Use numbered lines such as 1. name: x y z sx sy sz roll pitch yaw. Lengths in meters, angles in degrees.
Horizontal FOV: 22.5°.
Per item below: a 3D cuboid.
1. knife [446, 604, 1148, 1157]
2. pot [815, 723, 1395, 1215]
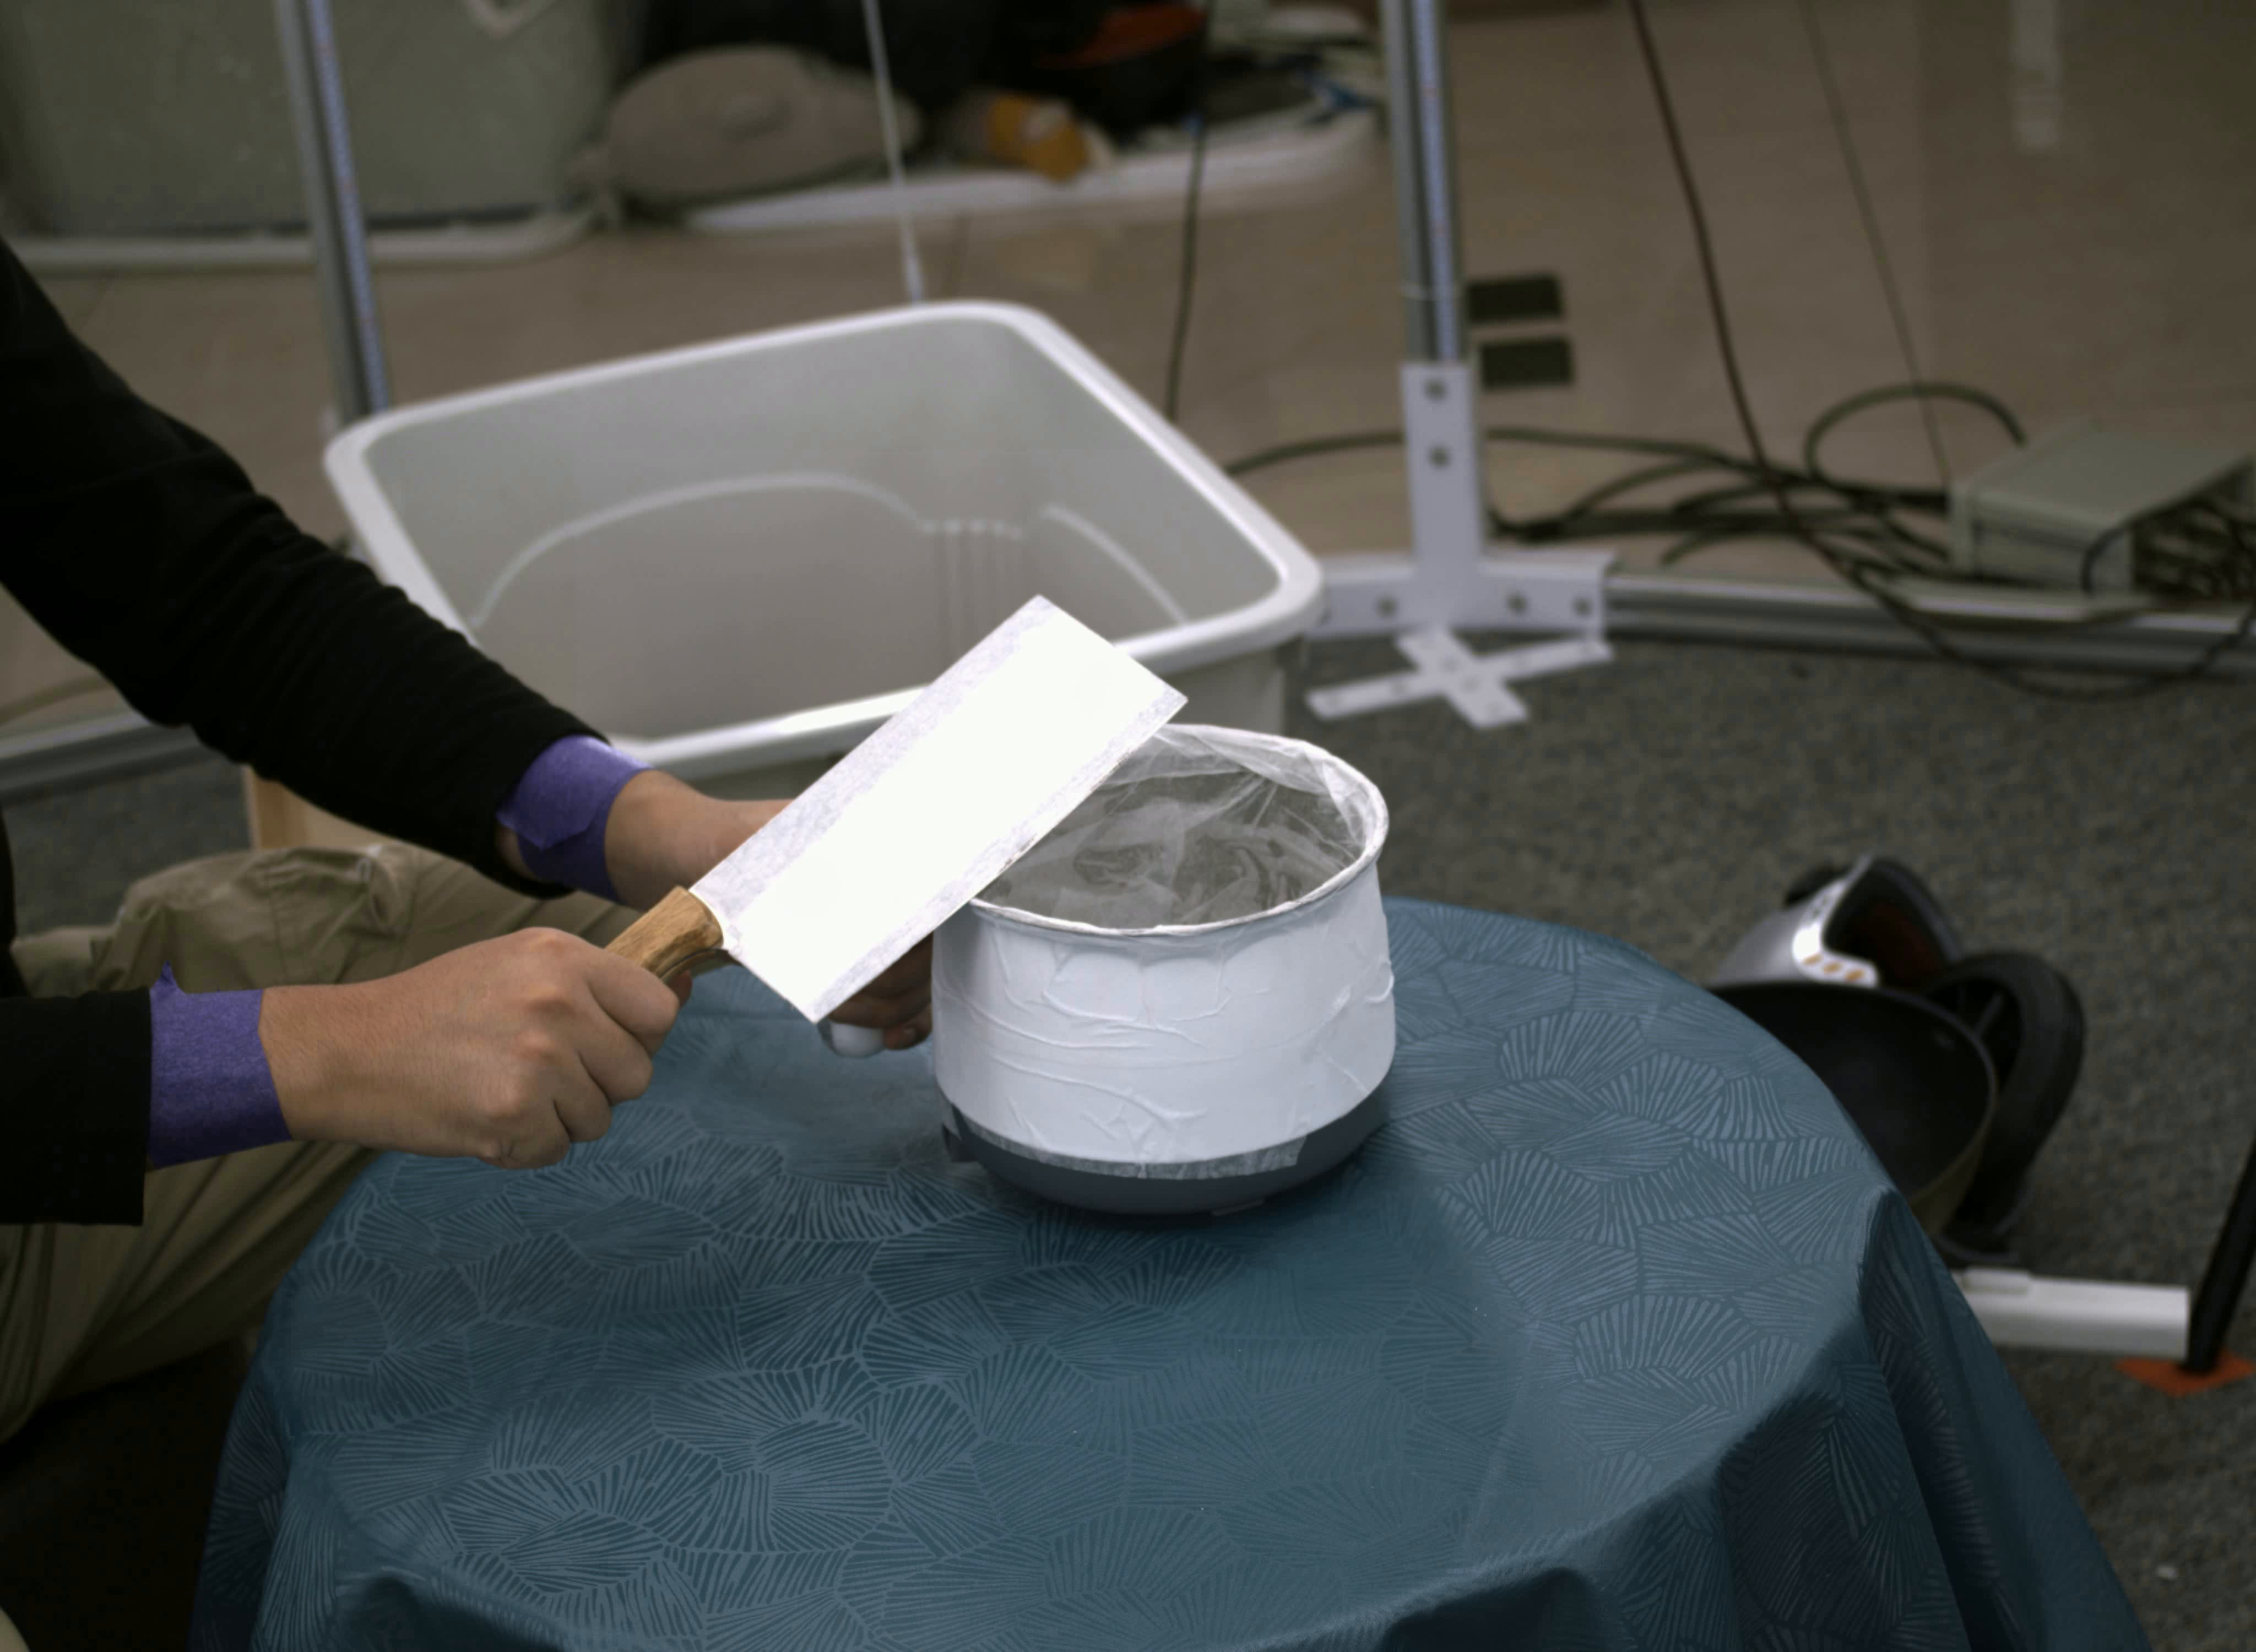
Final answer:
1. knife: -0.116 0.027 2.096 0.304 0.021 0.092 -41 50 -15
2. pot: -0.013 0.052 2.161 0.233 0.139 0.176 8 28 20
